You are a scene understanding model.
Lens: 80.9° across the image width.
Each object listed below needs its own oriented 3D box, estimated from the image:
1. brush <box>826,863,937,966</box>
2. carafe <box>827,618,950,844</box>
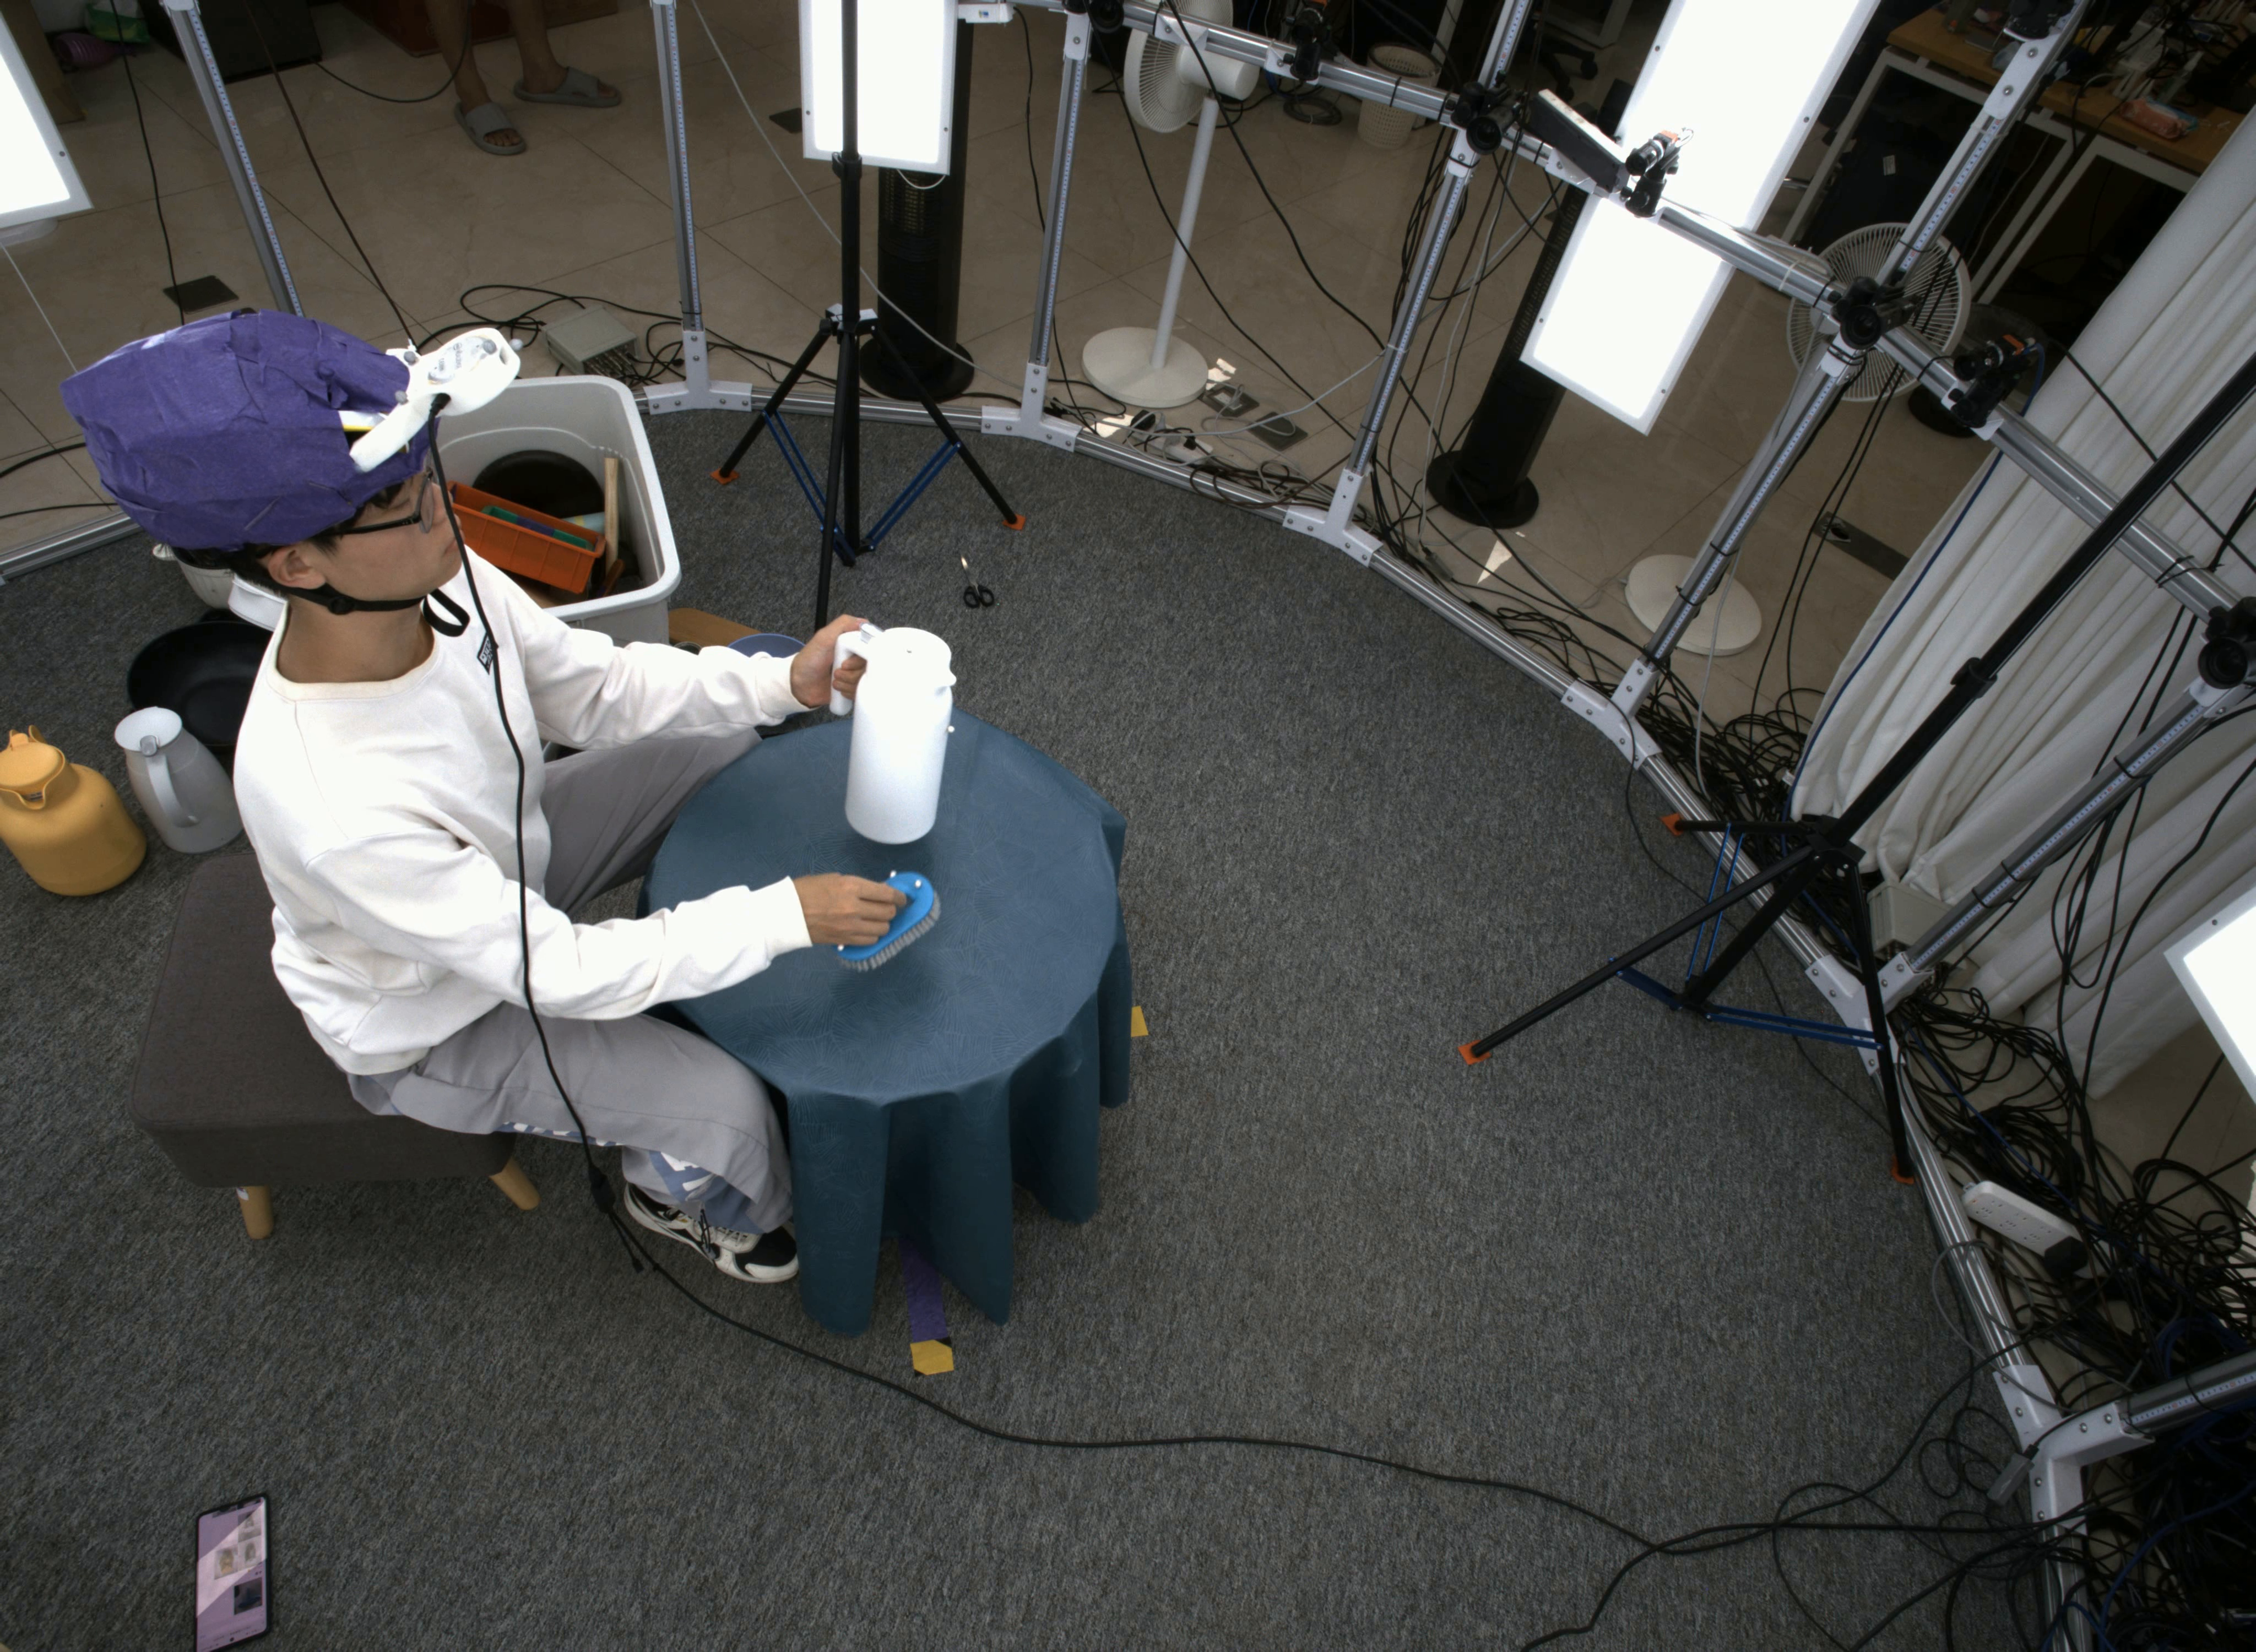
[{"bbox_3d":[-0.294,0.100,1.544,0.141,0.065,0.082,-37,68,-12],"label":"brush"},{"bbox_3d":[-0.305,-0.121,1.624,0.169,0.275,0.124,28,44,16],"label":"carafe"}]
